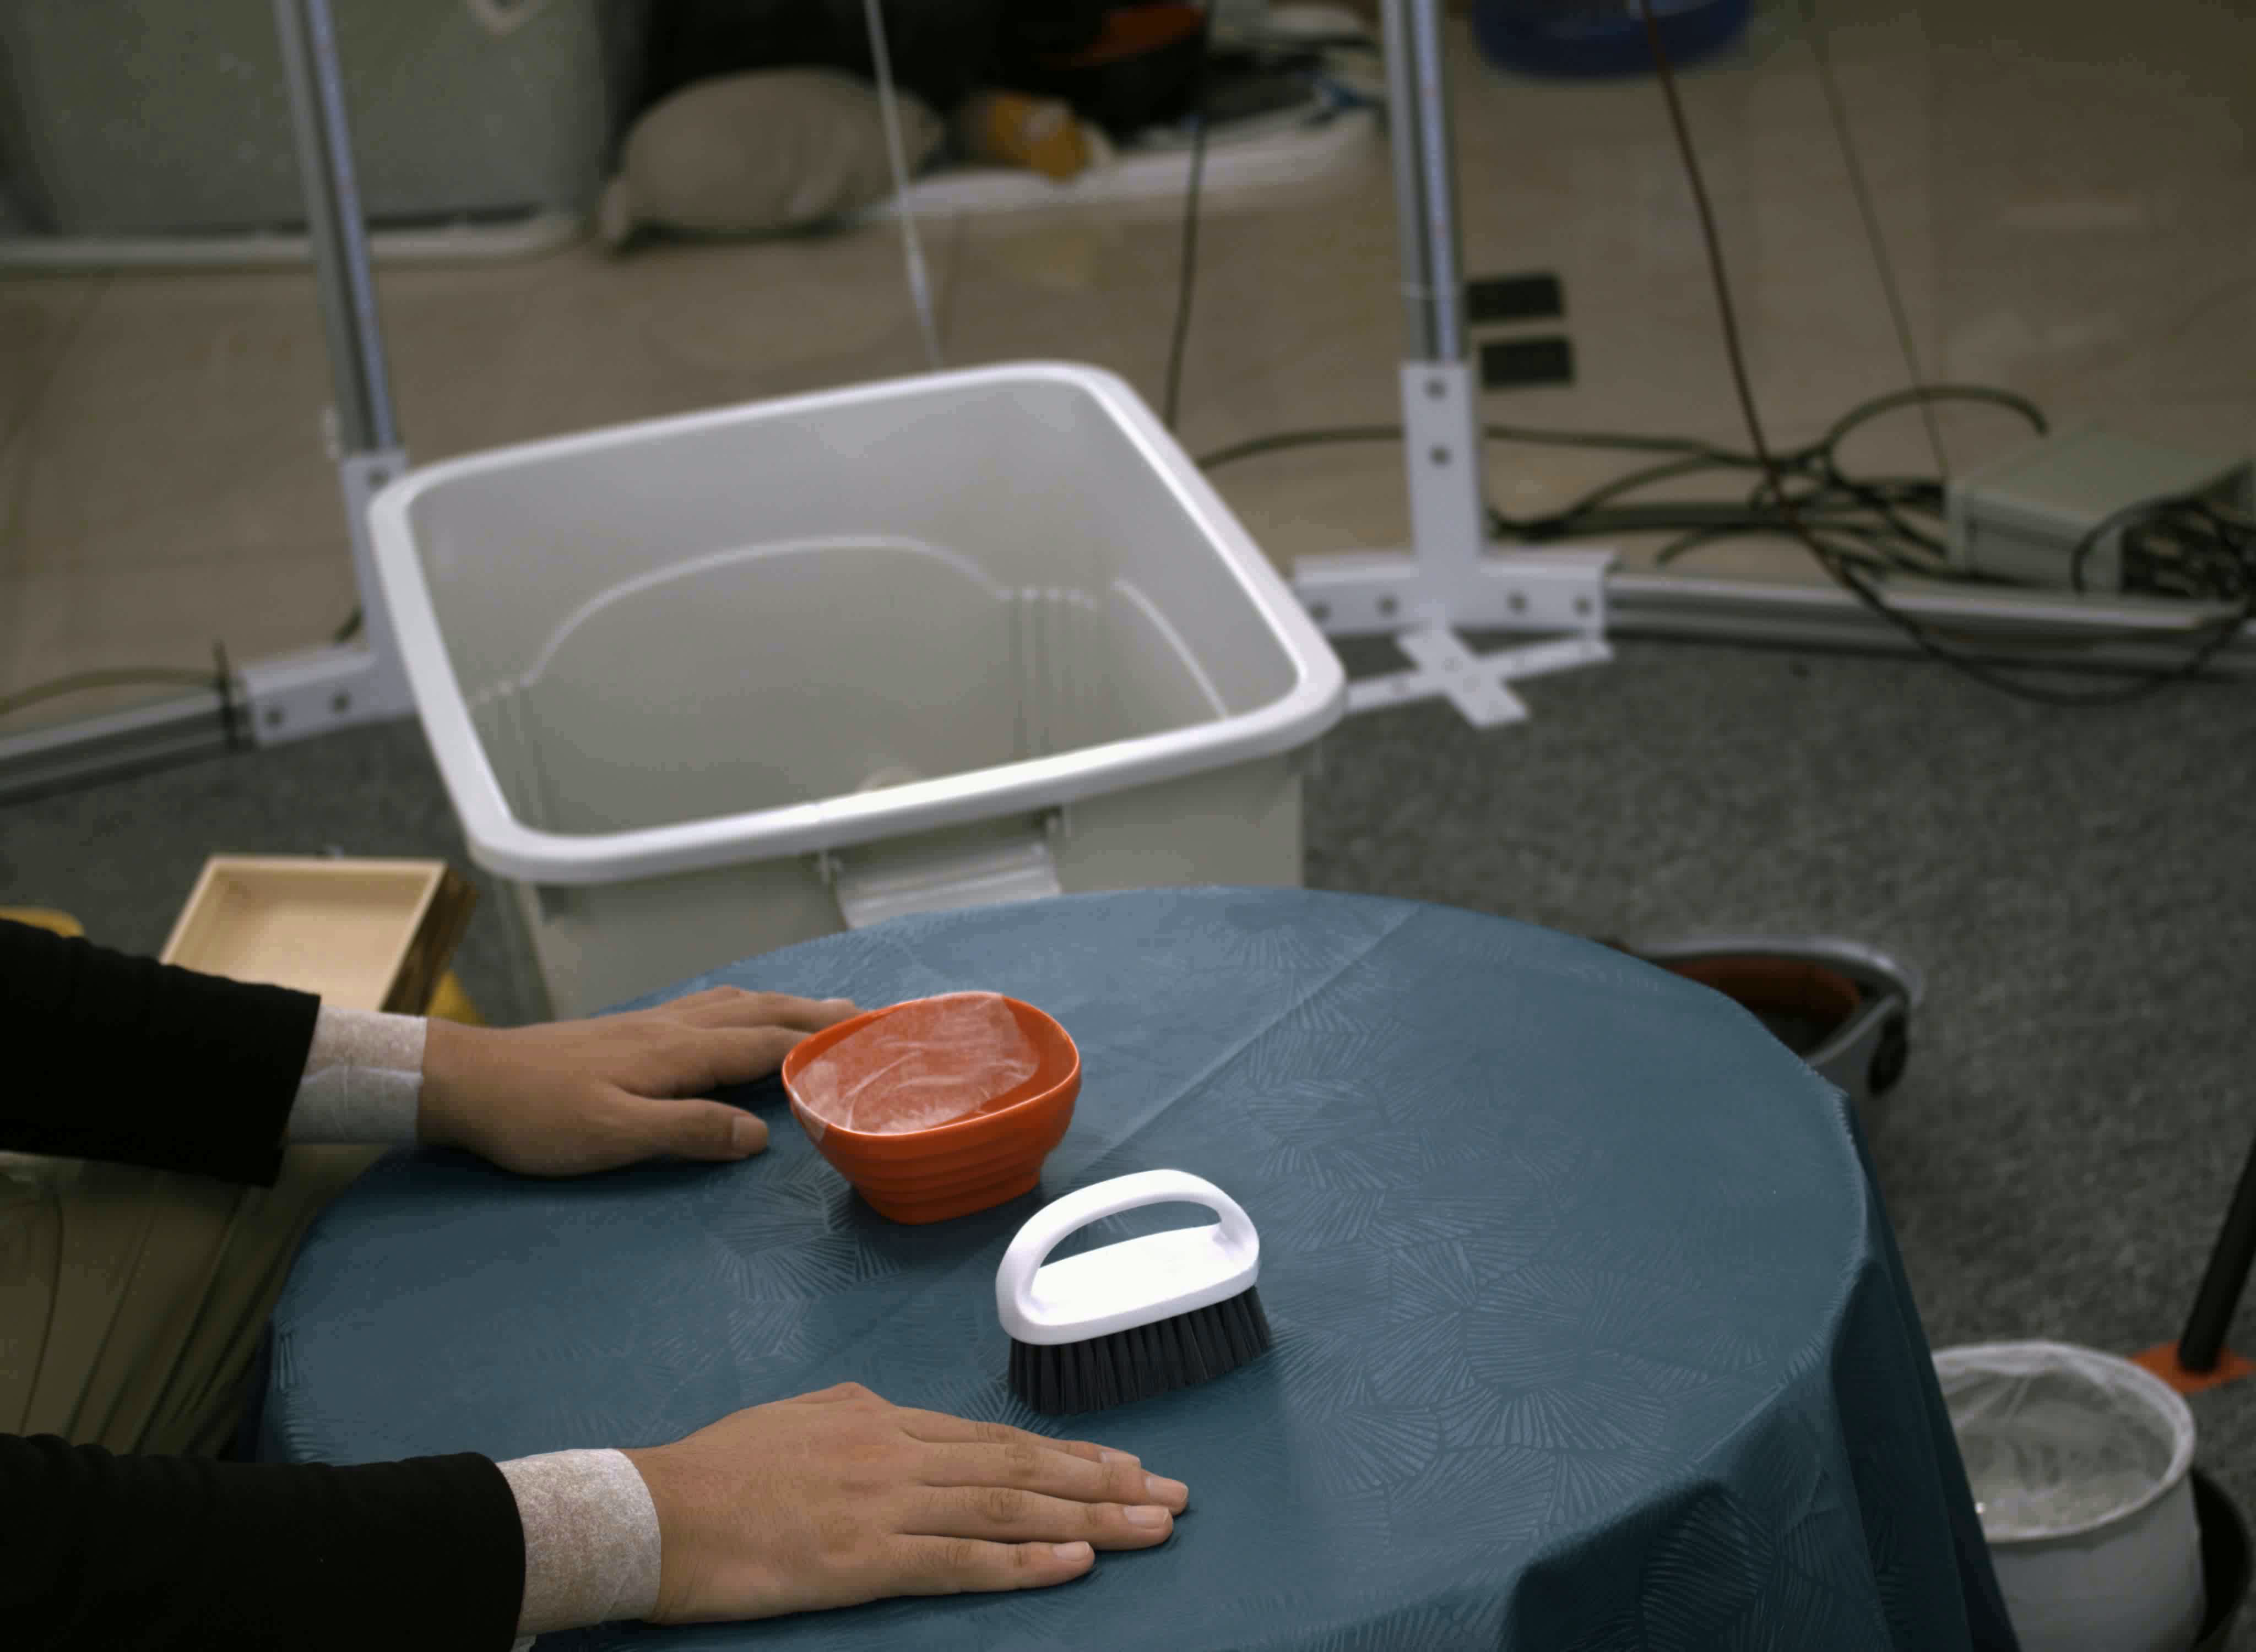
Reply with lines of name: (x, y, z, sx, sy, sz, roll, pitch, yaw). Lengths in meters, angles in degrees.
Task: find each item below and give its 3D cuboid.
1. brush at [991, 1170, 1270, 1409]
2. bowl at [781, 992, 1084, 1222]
brush: (-0.001, 0.159, 2.016, 0.099, 0.074, 0.049, -13, 27, -14)
bowl: (-0.073, 0.111, 2.162, 0.119, 0.052, 0.117, -3, 26, 1)
